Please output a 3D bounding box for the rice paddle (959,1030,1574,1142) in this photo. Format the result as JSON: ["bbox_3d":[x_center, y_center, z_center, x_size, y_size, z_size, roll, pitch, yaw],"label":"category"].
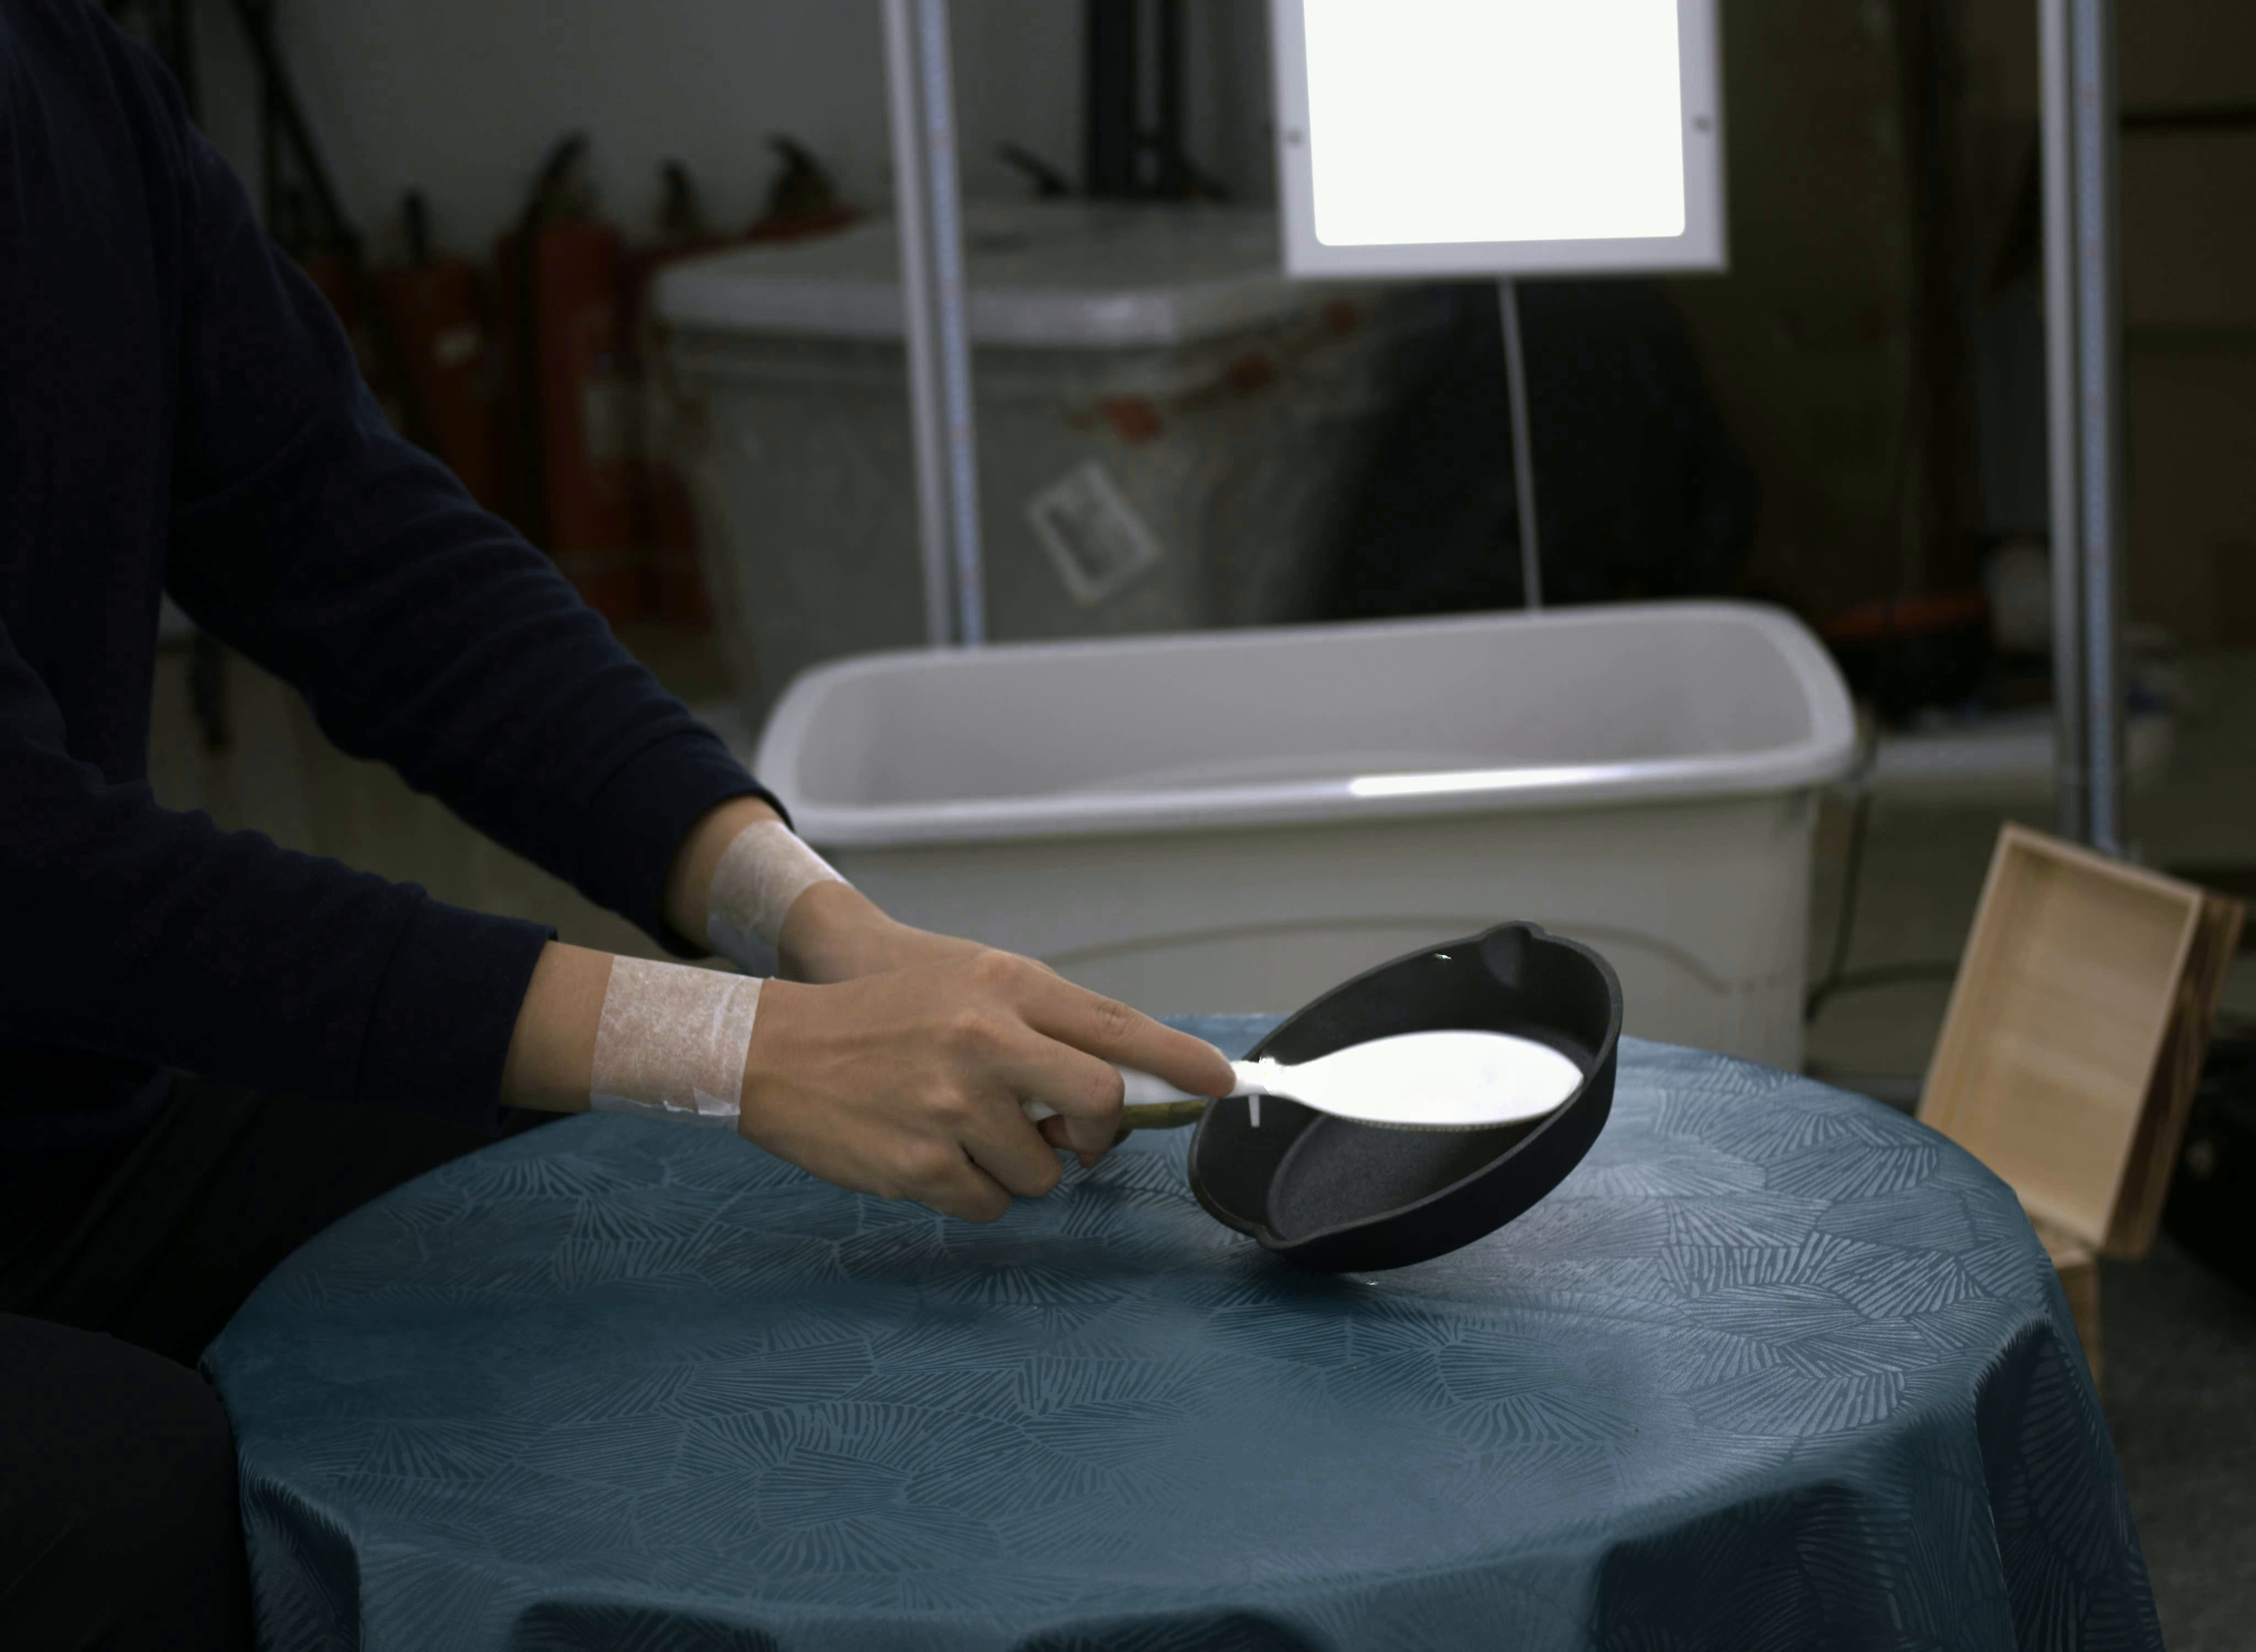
[{"bbox_3d":[0.047,0.084,1.814,0.205,0.029,0.068,-2,23,6],"label":"rice paddle"}]

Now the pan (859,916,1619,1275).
[{"bbox_3d":[0.032,0.091,1.875,0.331,0.049,0.166,0,38,44],"label":"pan"}]
